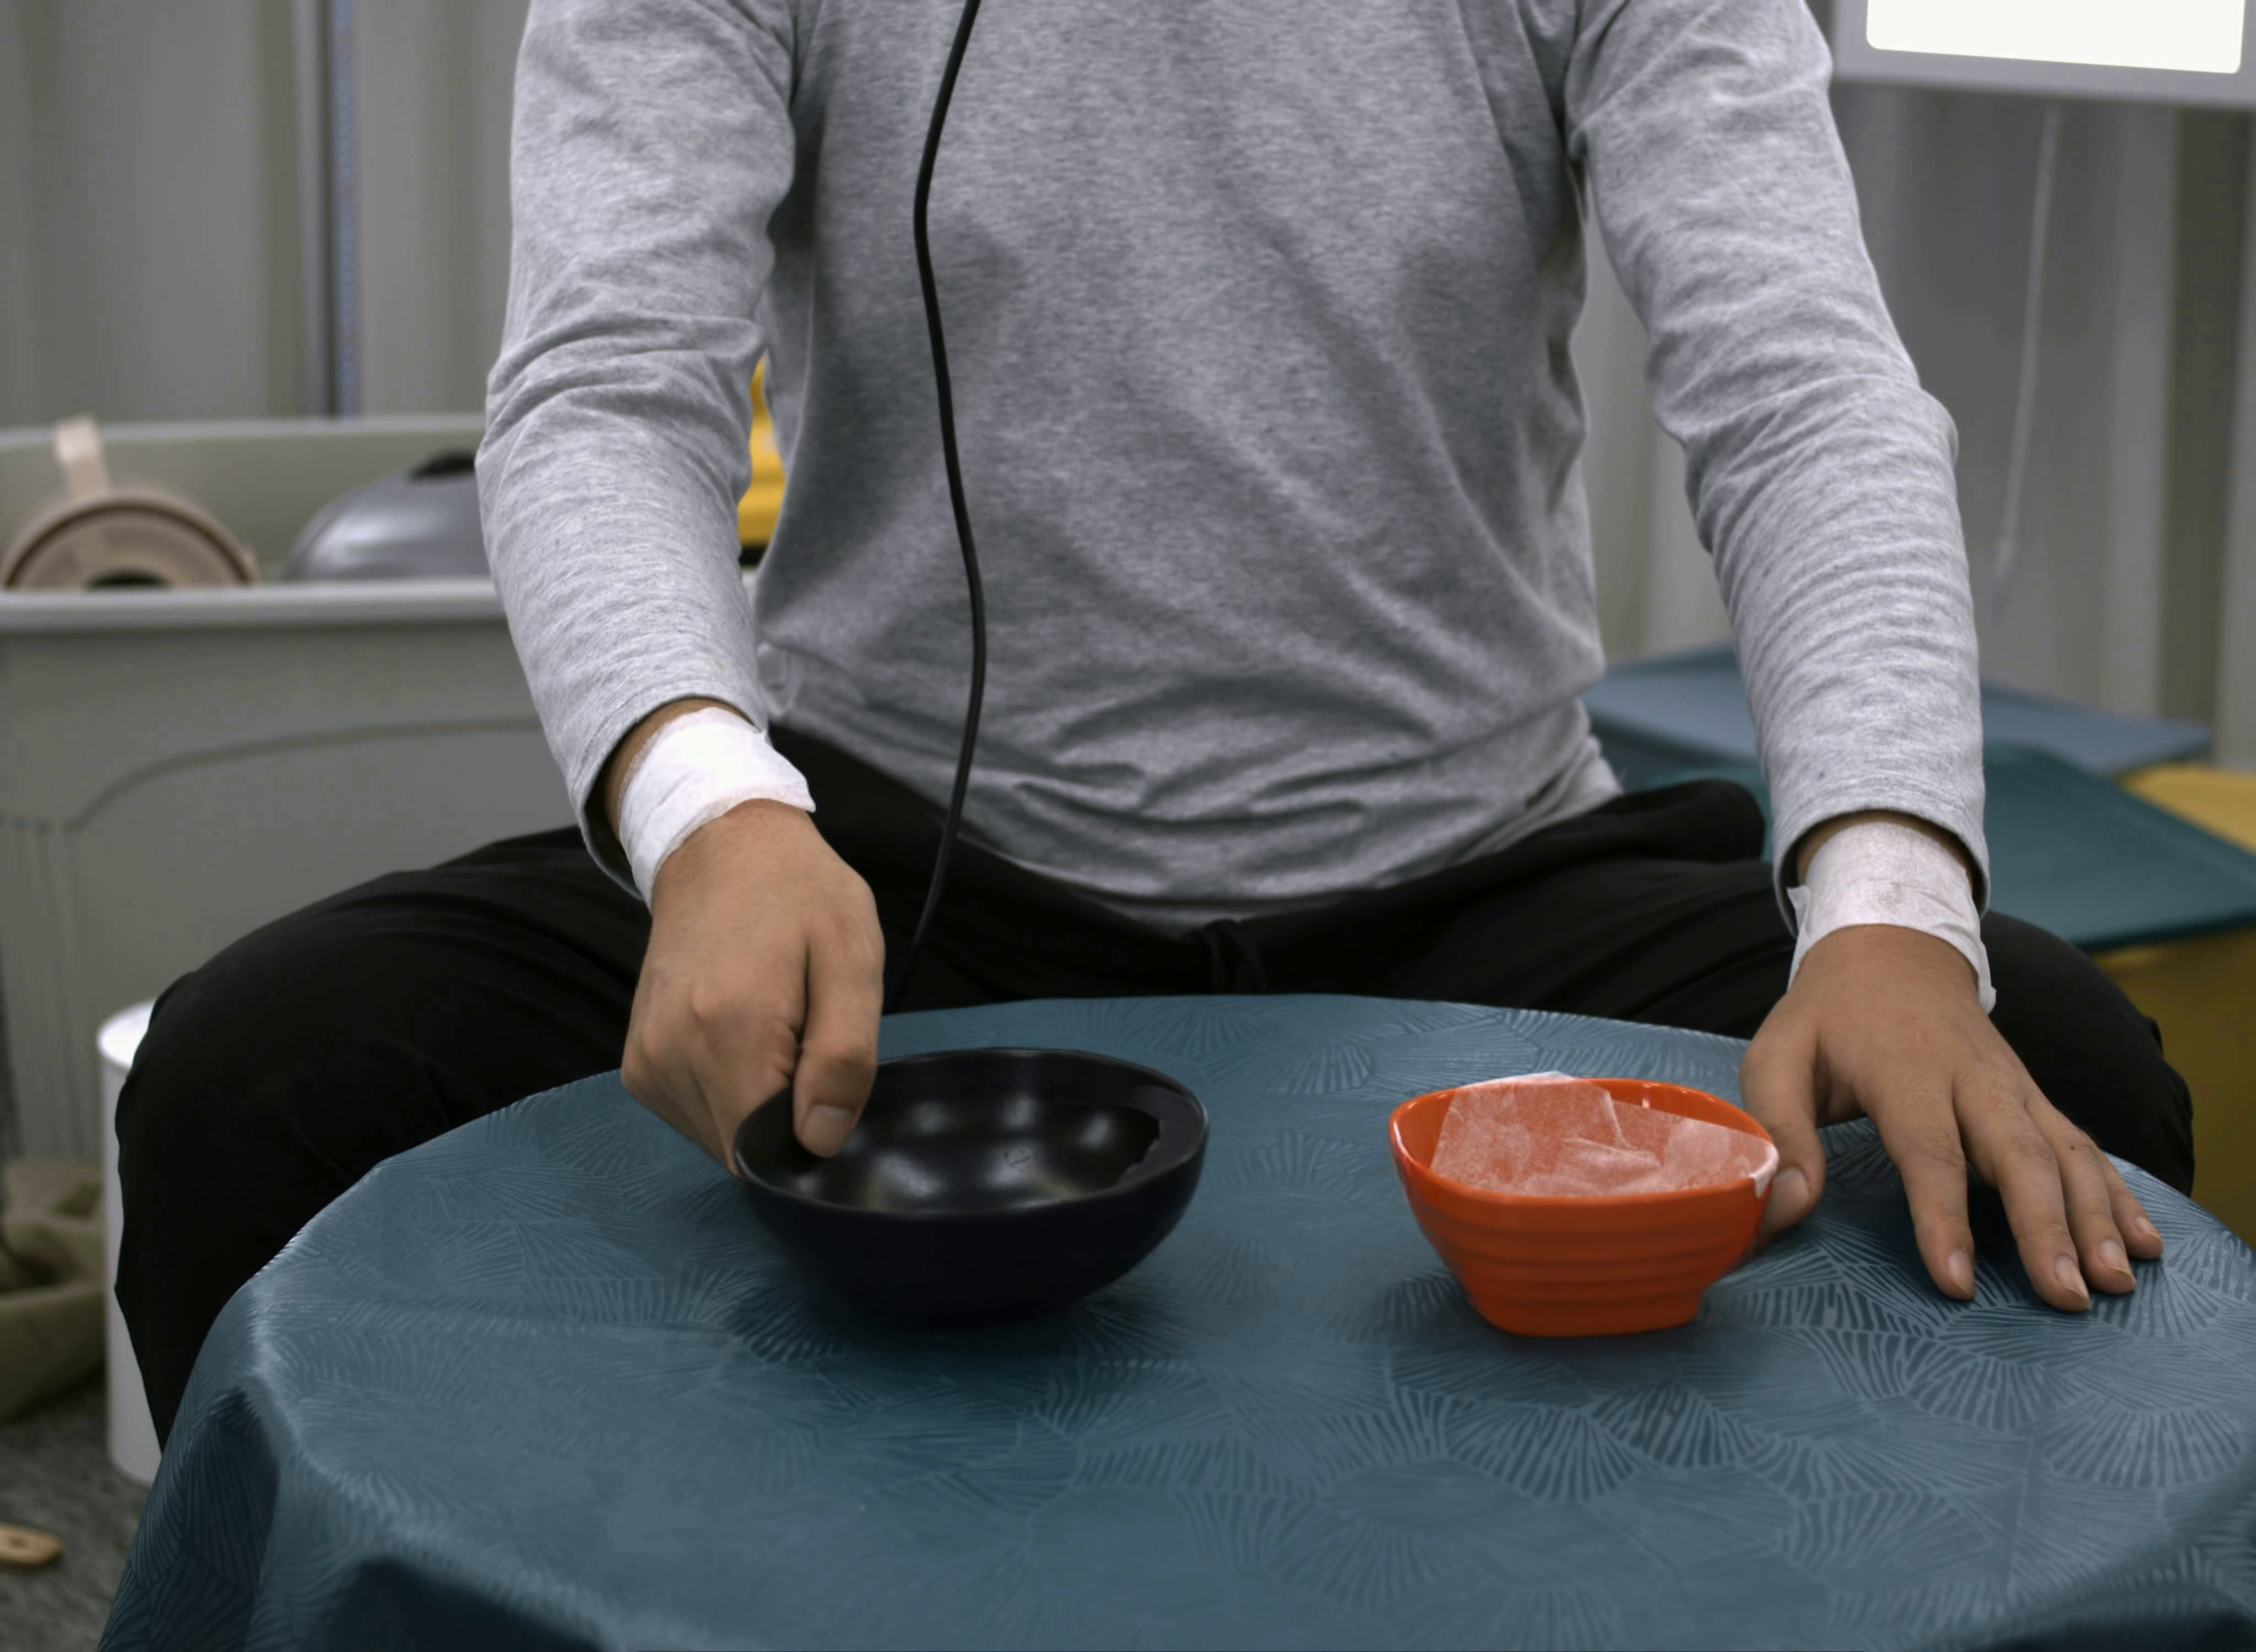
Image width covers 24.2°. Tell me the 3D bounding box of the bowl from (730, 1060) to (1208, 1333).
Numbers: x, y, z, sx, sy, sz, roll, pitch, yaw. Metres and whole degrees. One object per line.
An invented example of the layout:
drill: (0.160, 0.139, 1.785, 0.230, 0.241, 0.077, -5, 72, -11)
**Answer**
bowl: (-0.045, 0.112, 1.525, 0.139, 0.050, 0.139, -2, 15, 1)

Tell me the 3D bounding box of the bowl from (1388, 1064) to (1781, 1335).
bowl: (0.132, 0.111, 1.532, 0.118, 0.052, 0.118, 0, 18, 1)
